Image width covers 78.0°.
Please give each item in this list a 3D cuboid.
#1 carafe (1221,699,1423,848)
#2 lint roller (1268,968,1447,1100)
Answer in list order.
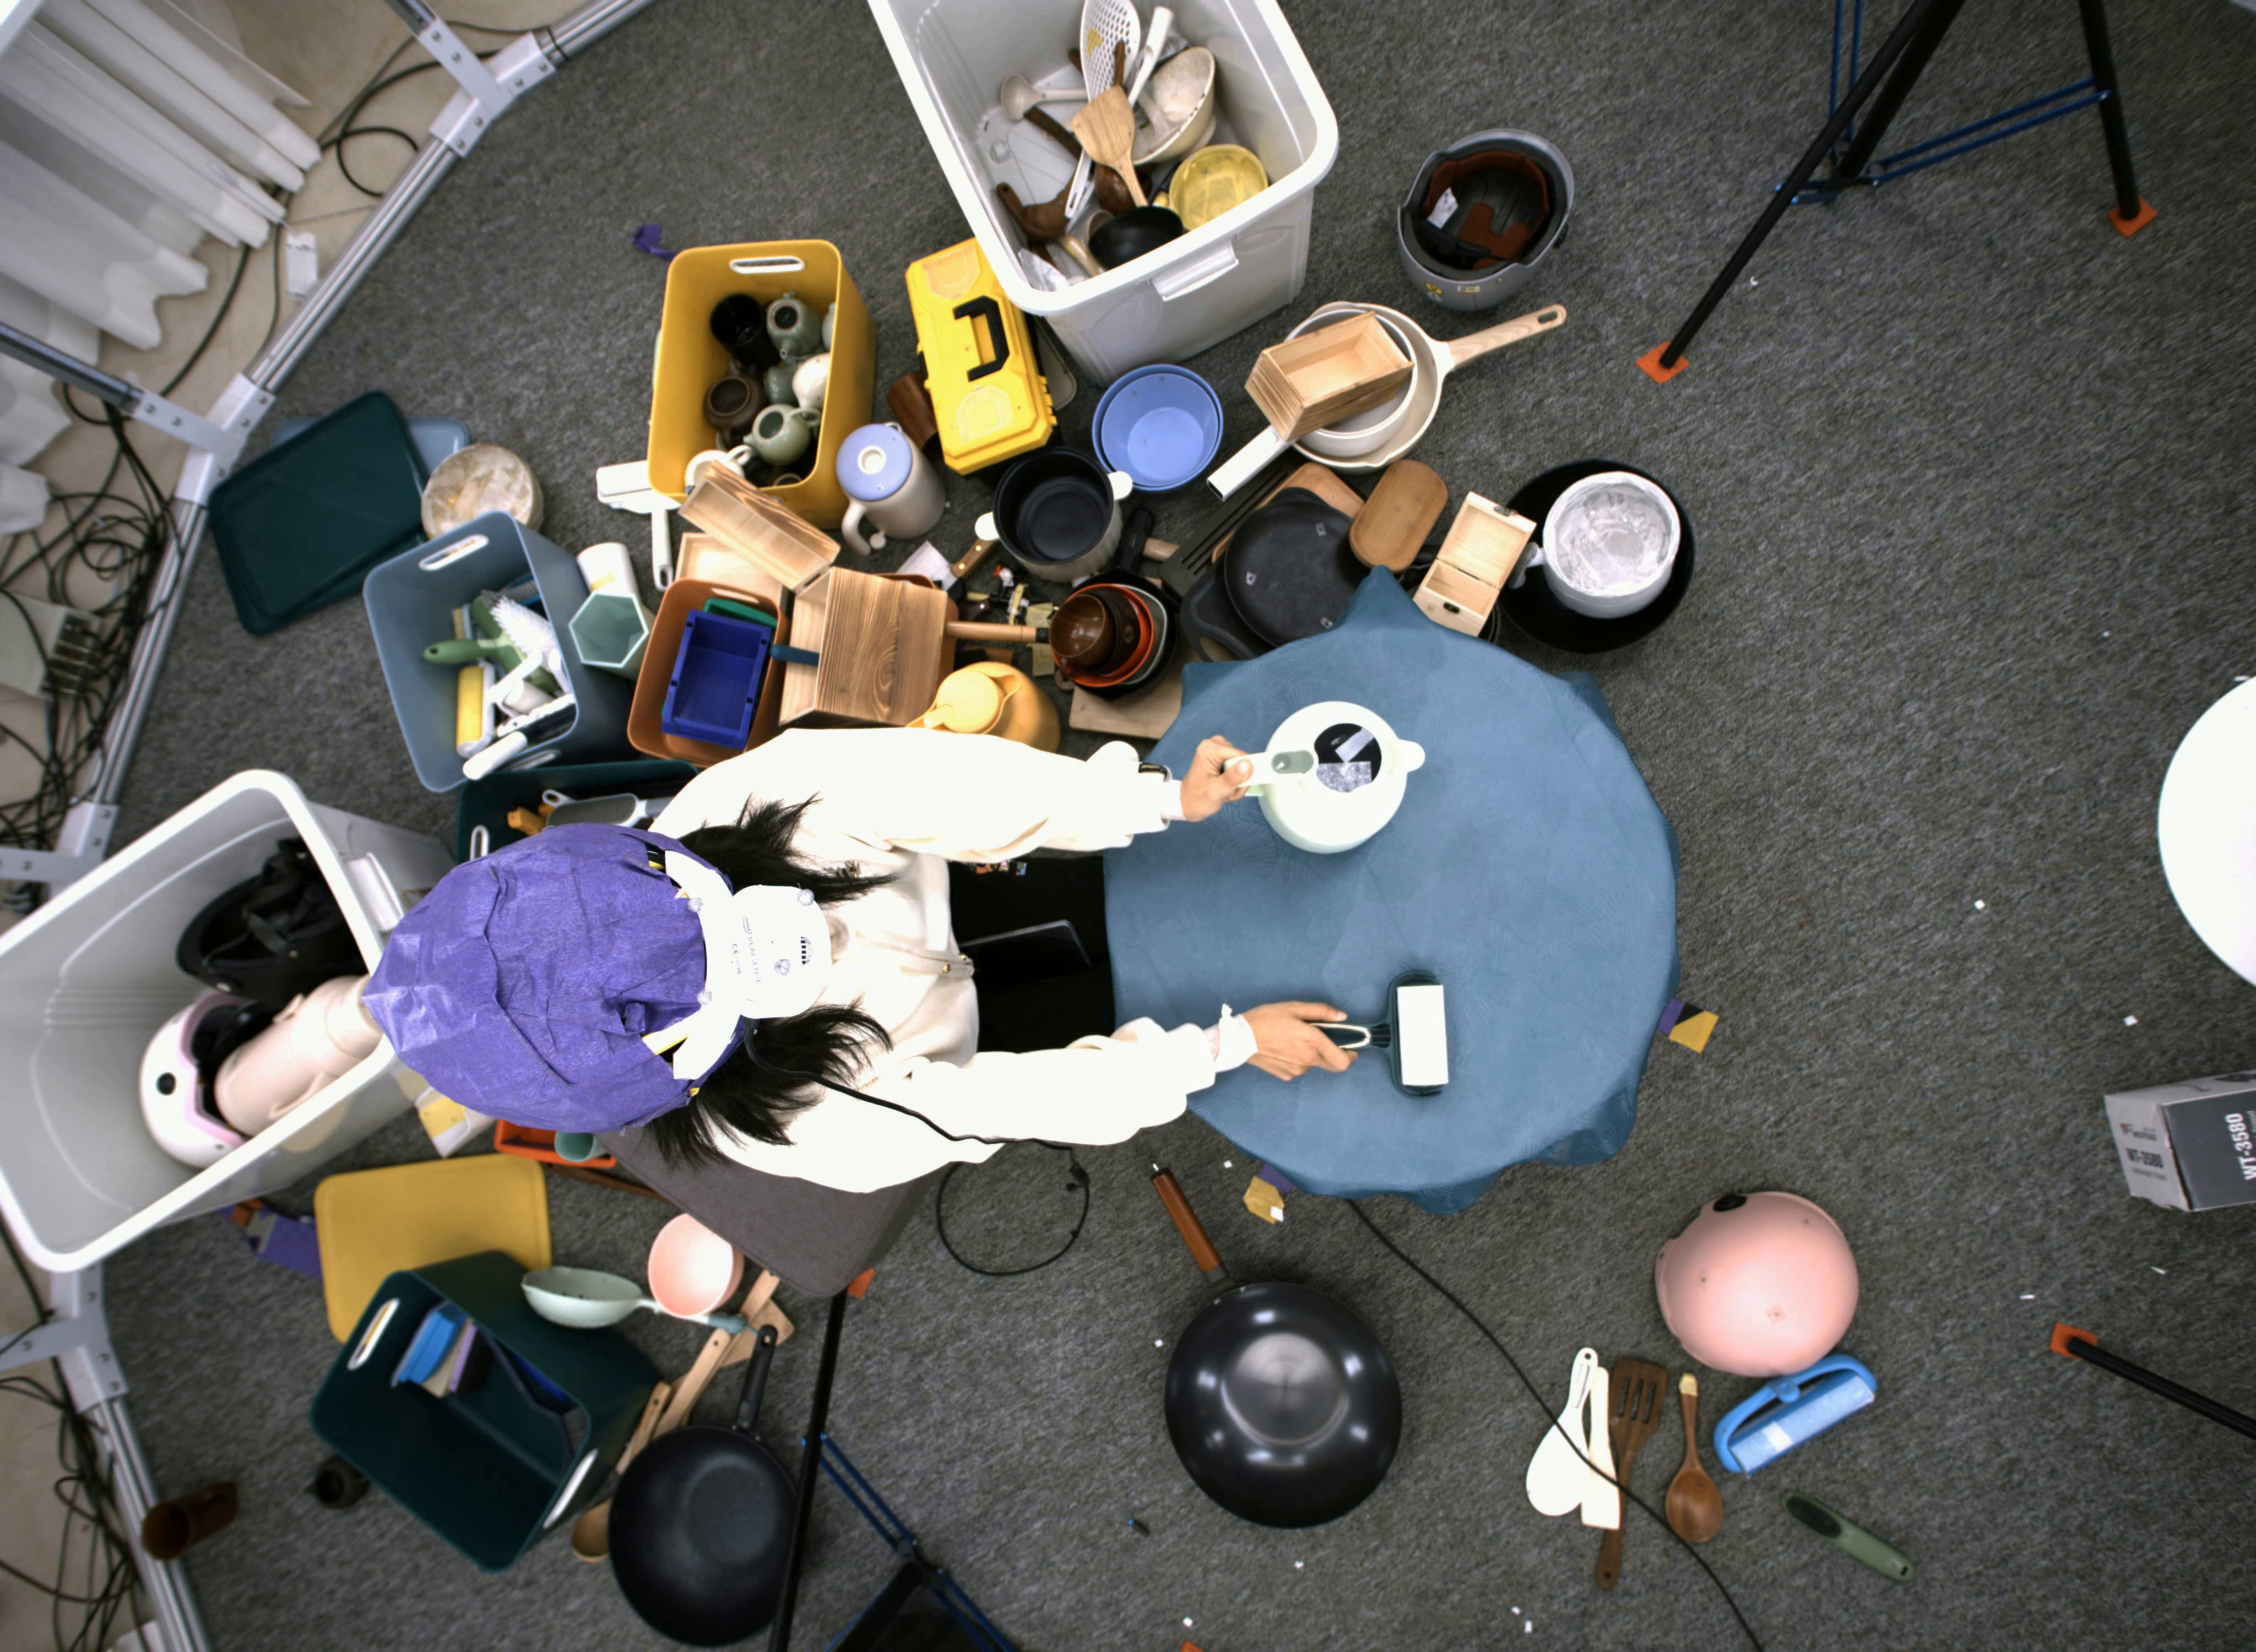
[{"bbox_3d":[0.187,-0.054,1.349,0.187,0.256,0.144,-4,88,7],"label":"carafe"},{"bbox_3d":[0.236,0.215,1.424,0.180,0.048,0.133,-2,85,2],"label":"lint roller"}]
